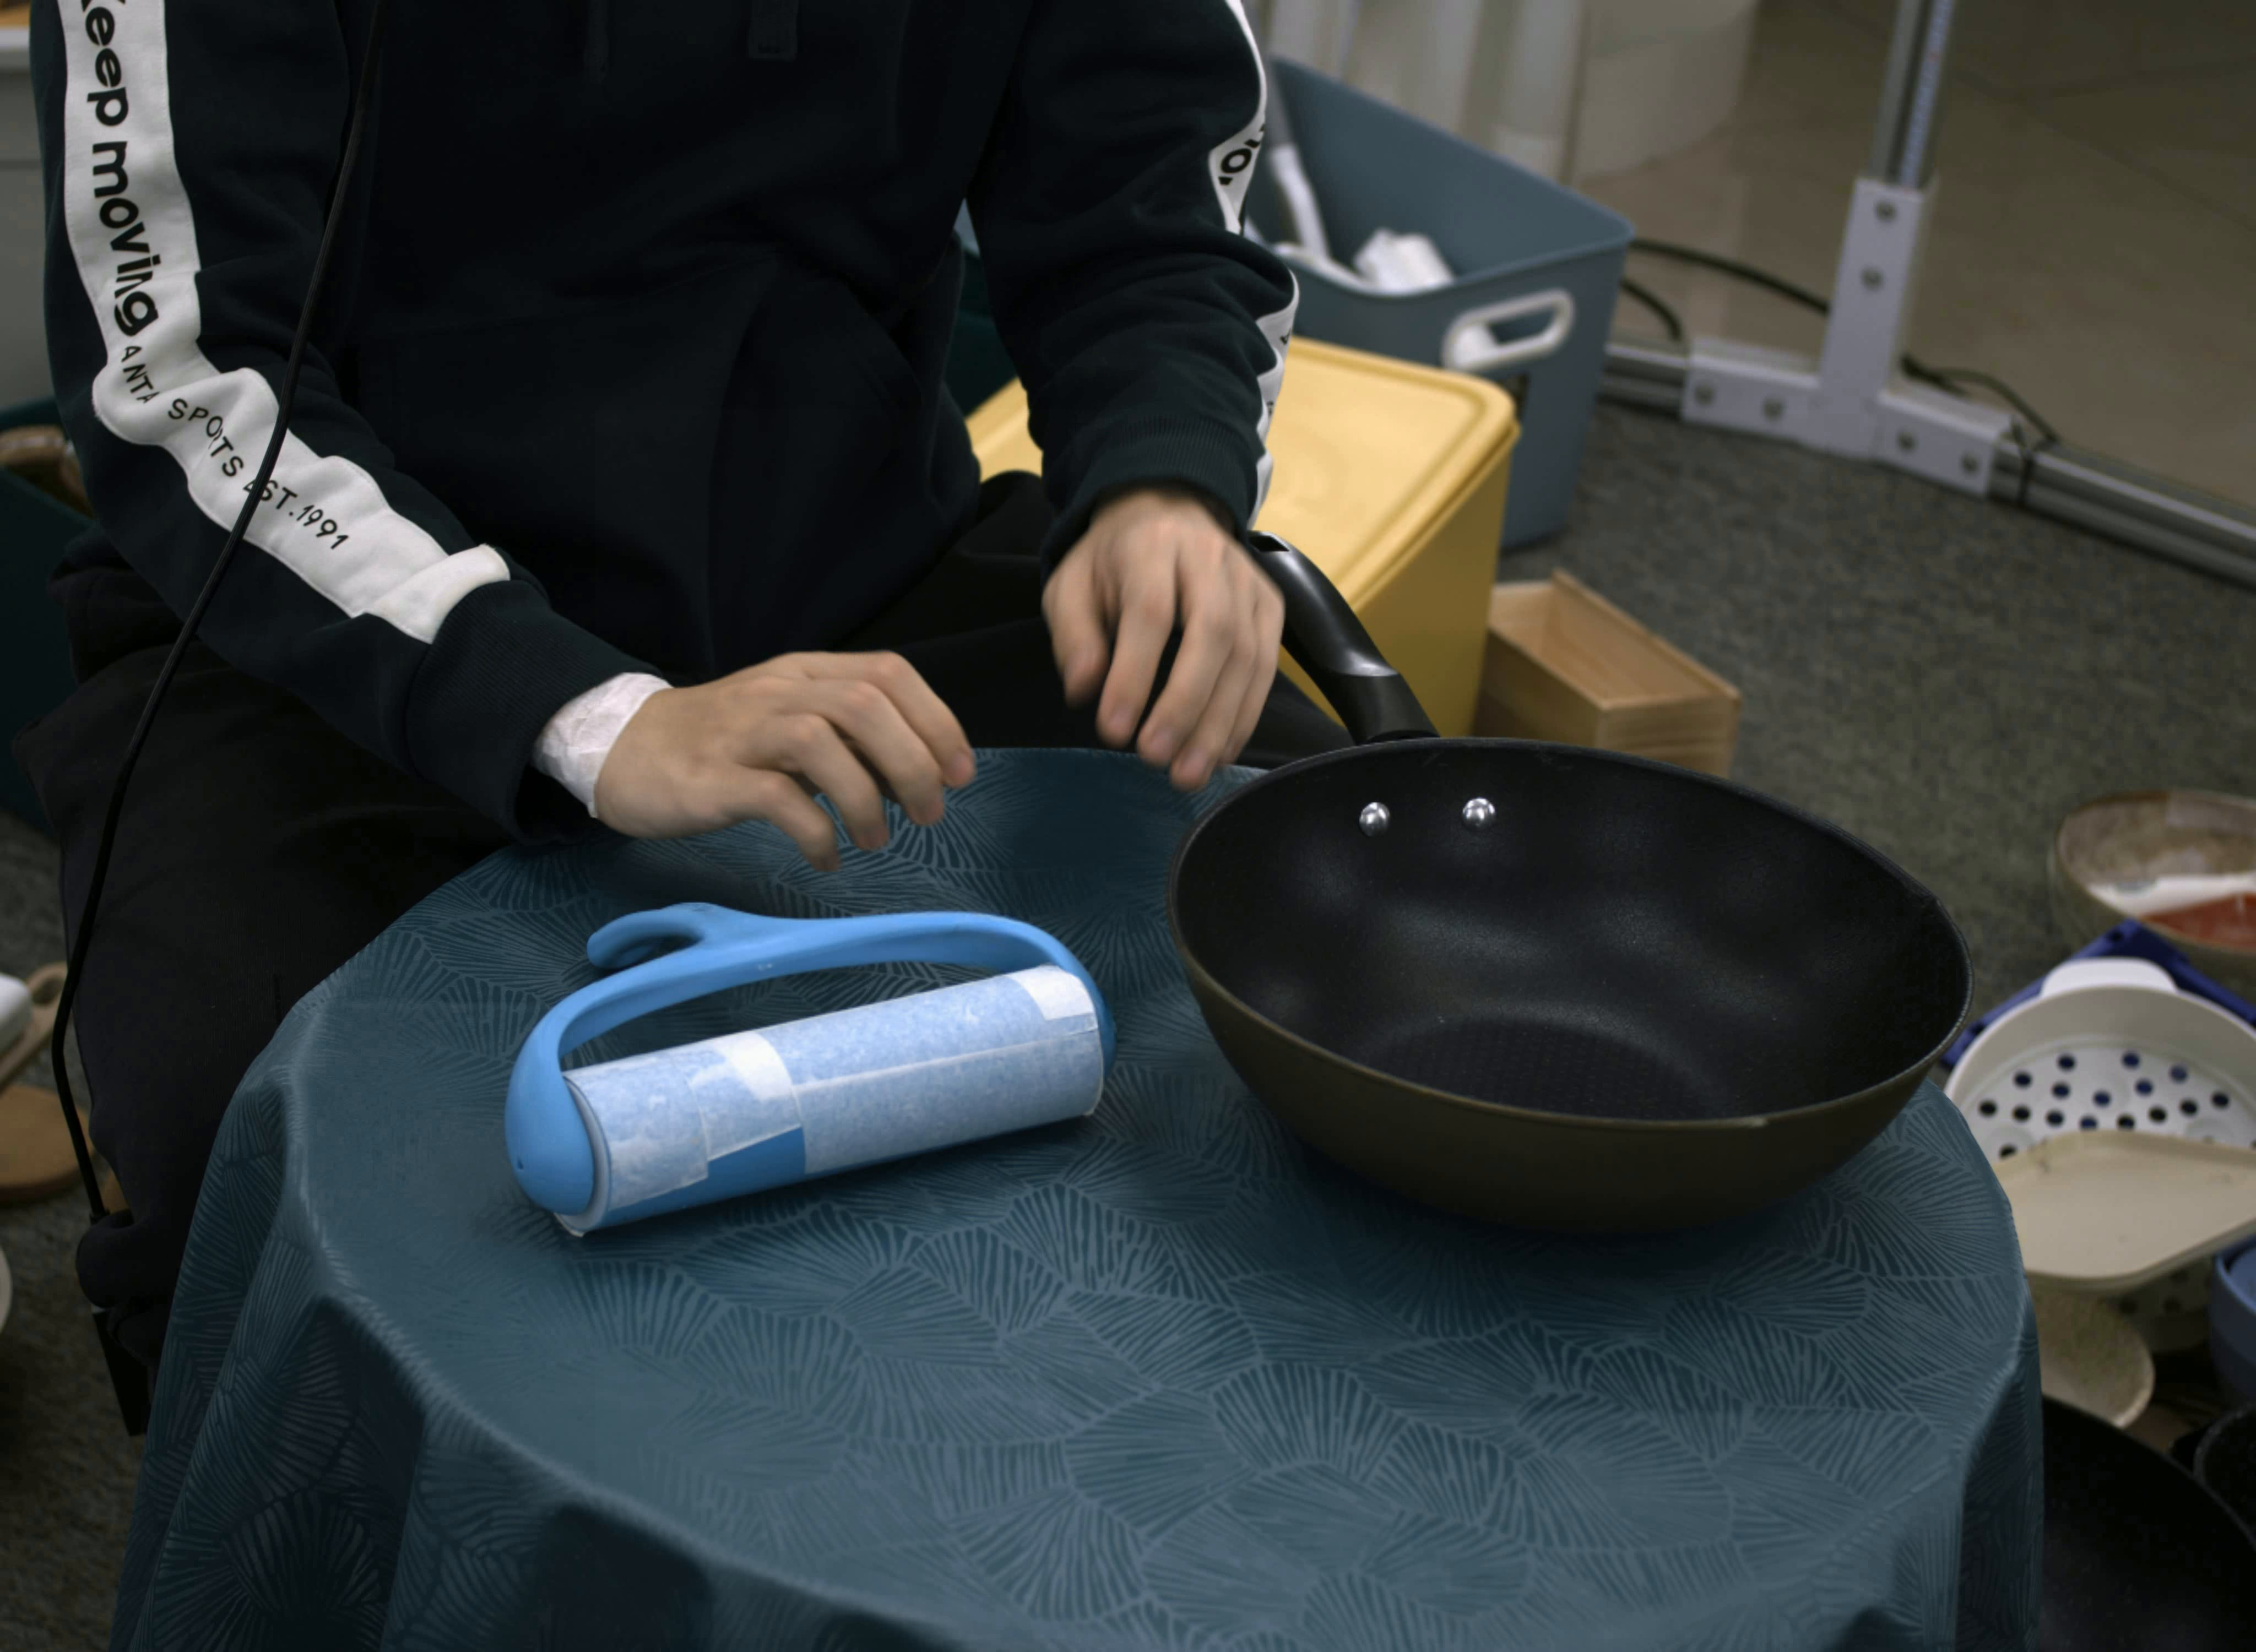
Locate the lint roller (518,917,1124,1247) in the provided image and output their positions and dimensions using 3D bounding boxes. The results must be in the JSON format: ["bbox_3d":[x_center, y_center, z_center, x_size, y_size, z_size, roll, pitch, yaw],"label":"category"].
[{"bbox_3d":[-0.134,0.066,1.820,0.227,0.067,0.182,-16,35,-33],"label":"lint roller"}]

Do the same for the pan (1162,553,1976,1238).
[{"bbox_3d":[0.119,0.027,1.927,0.286,0.086,0.467,-3,27,-19],"label":"pan"}]
